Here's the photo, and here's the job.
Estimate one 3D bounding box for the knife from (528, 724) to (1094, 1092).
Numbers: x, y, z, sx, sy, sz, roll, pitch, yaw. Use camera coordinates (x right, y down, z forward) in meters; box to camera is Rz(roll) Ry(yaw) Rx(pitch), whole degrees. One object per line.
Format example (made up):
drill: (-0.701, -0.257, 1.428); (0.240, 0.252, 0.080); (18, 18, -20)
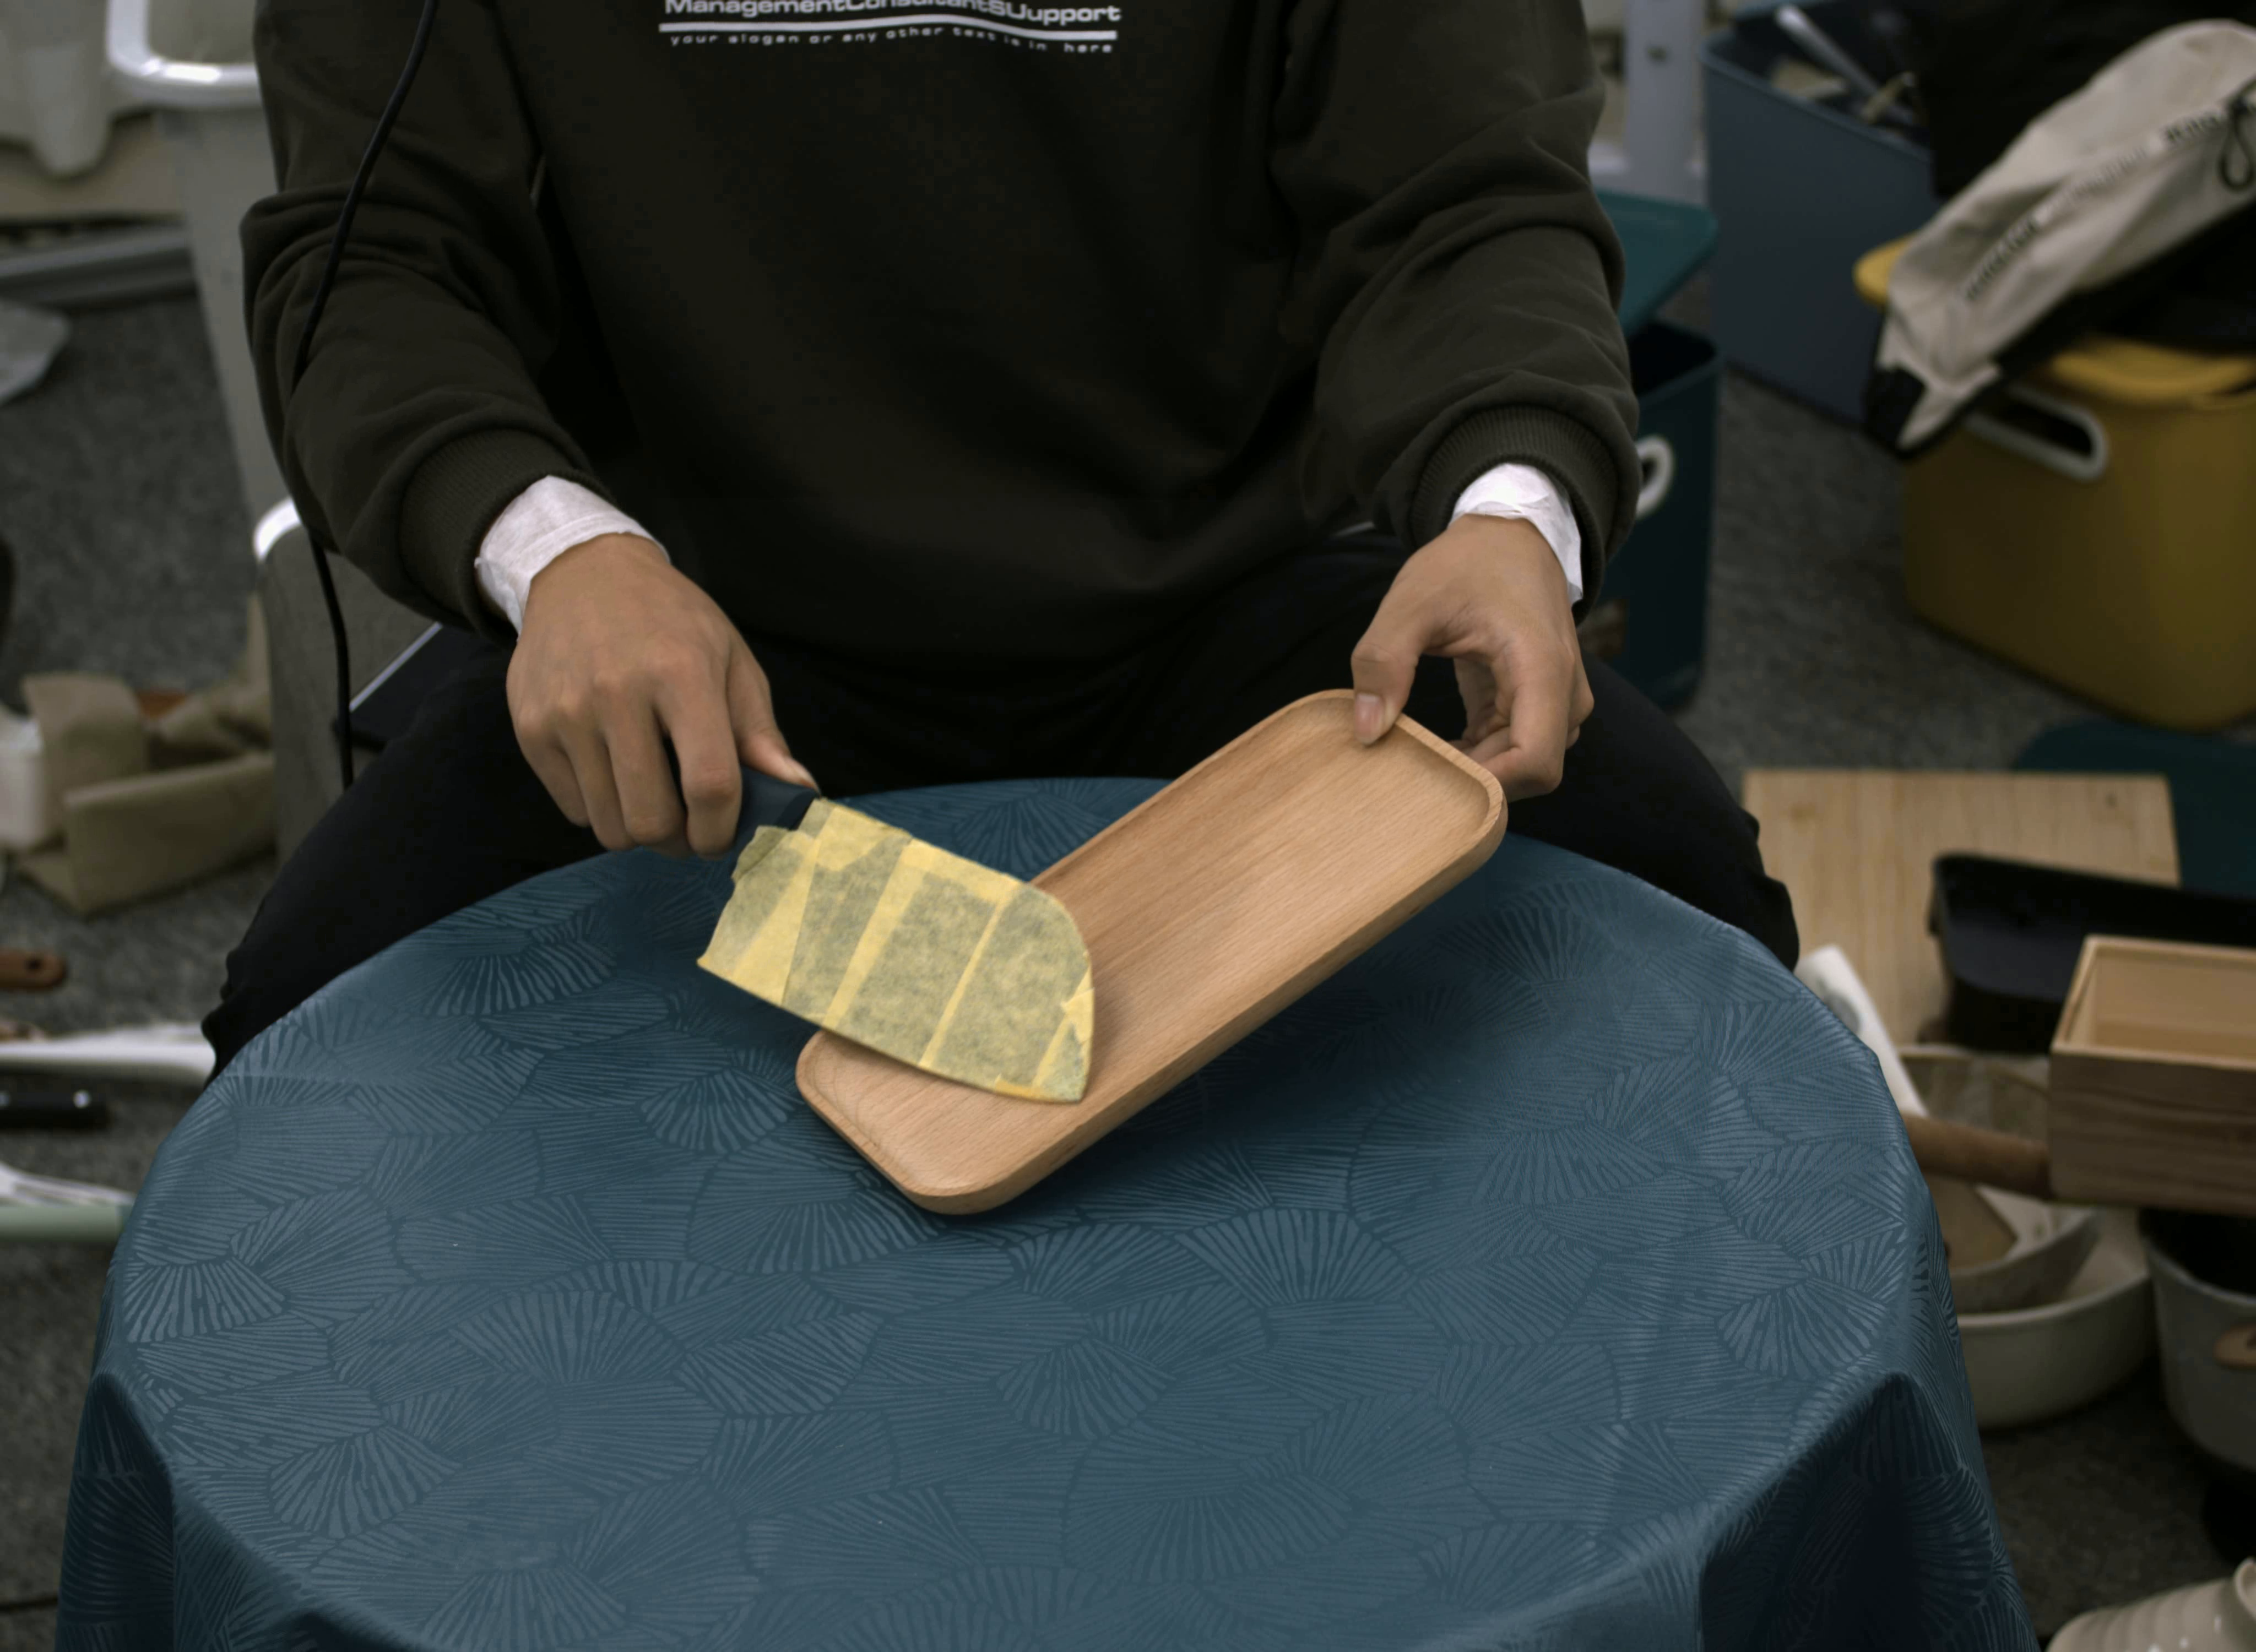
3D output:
knife: (-0.116, 0.026, 1.954); (0.289, 0.027, 0.081); (25, 81, 38)

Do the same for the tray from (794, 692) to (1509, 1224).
tray: (0.009, 0.043, 1.913); (0.252, 0.022, 0.131); (-35, 34, -15)
